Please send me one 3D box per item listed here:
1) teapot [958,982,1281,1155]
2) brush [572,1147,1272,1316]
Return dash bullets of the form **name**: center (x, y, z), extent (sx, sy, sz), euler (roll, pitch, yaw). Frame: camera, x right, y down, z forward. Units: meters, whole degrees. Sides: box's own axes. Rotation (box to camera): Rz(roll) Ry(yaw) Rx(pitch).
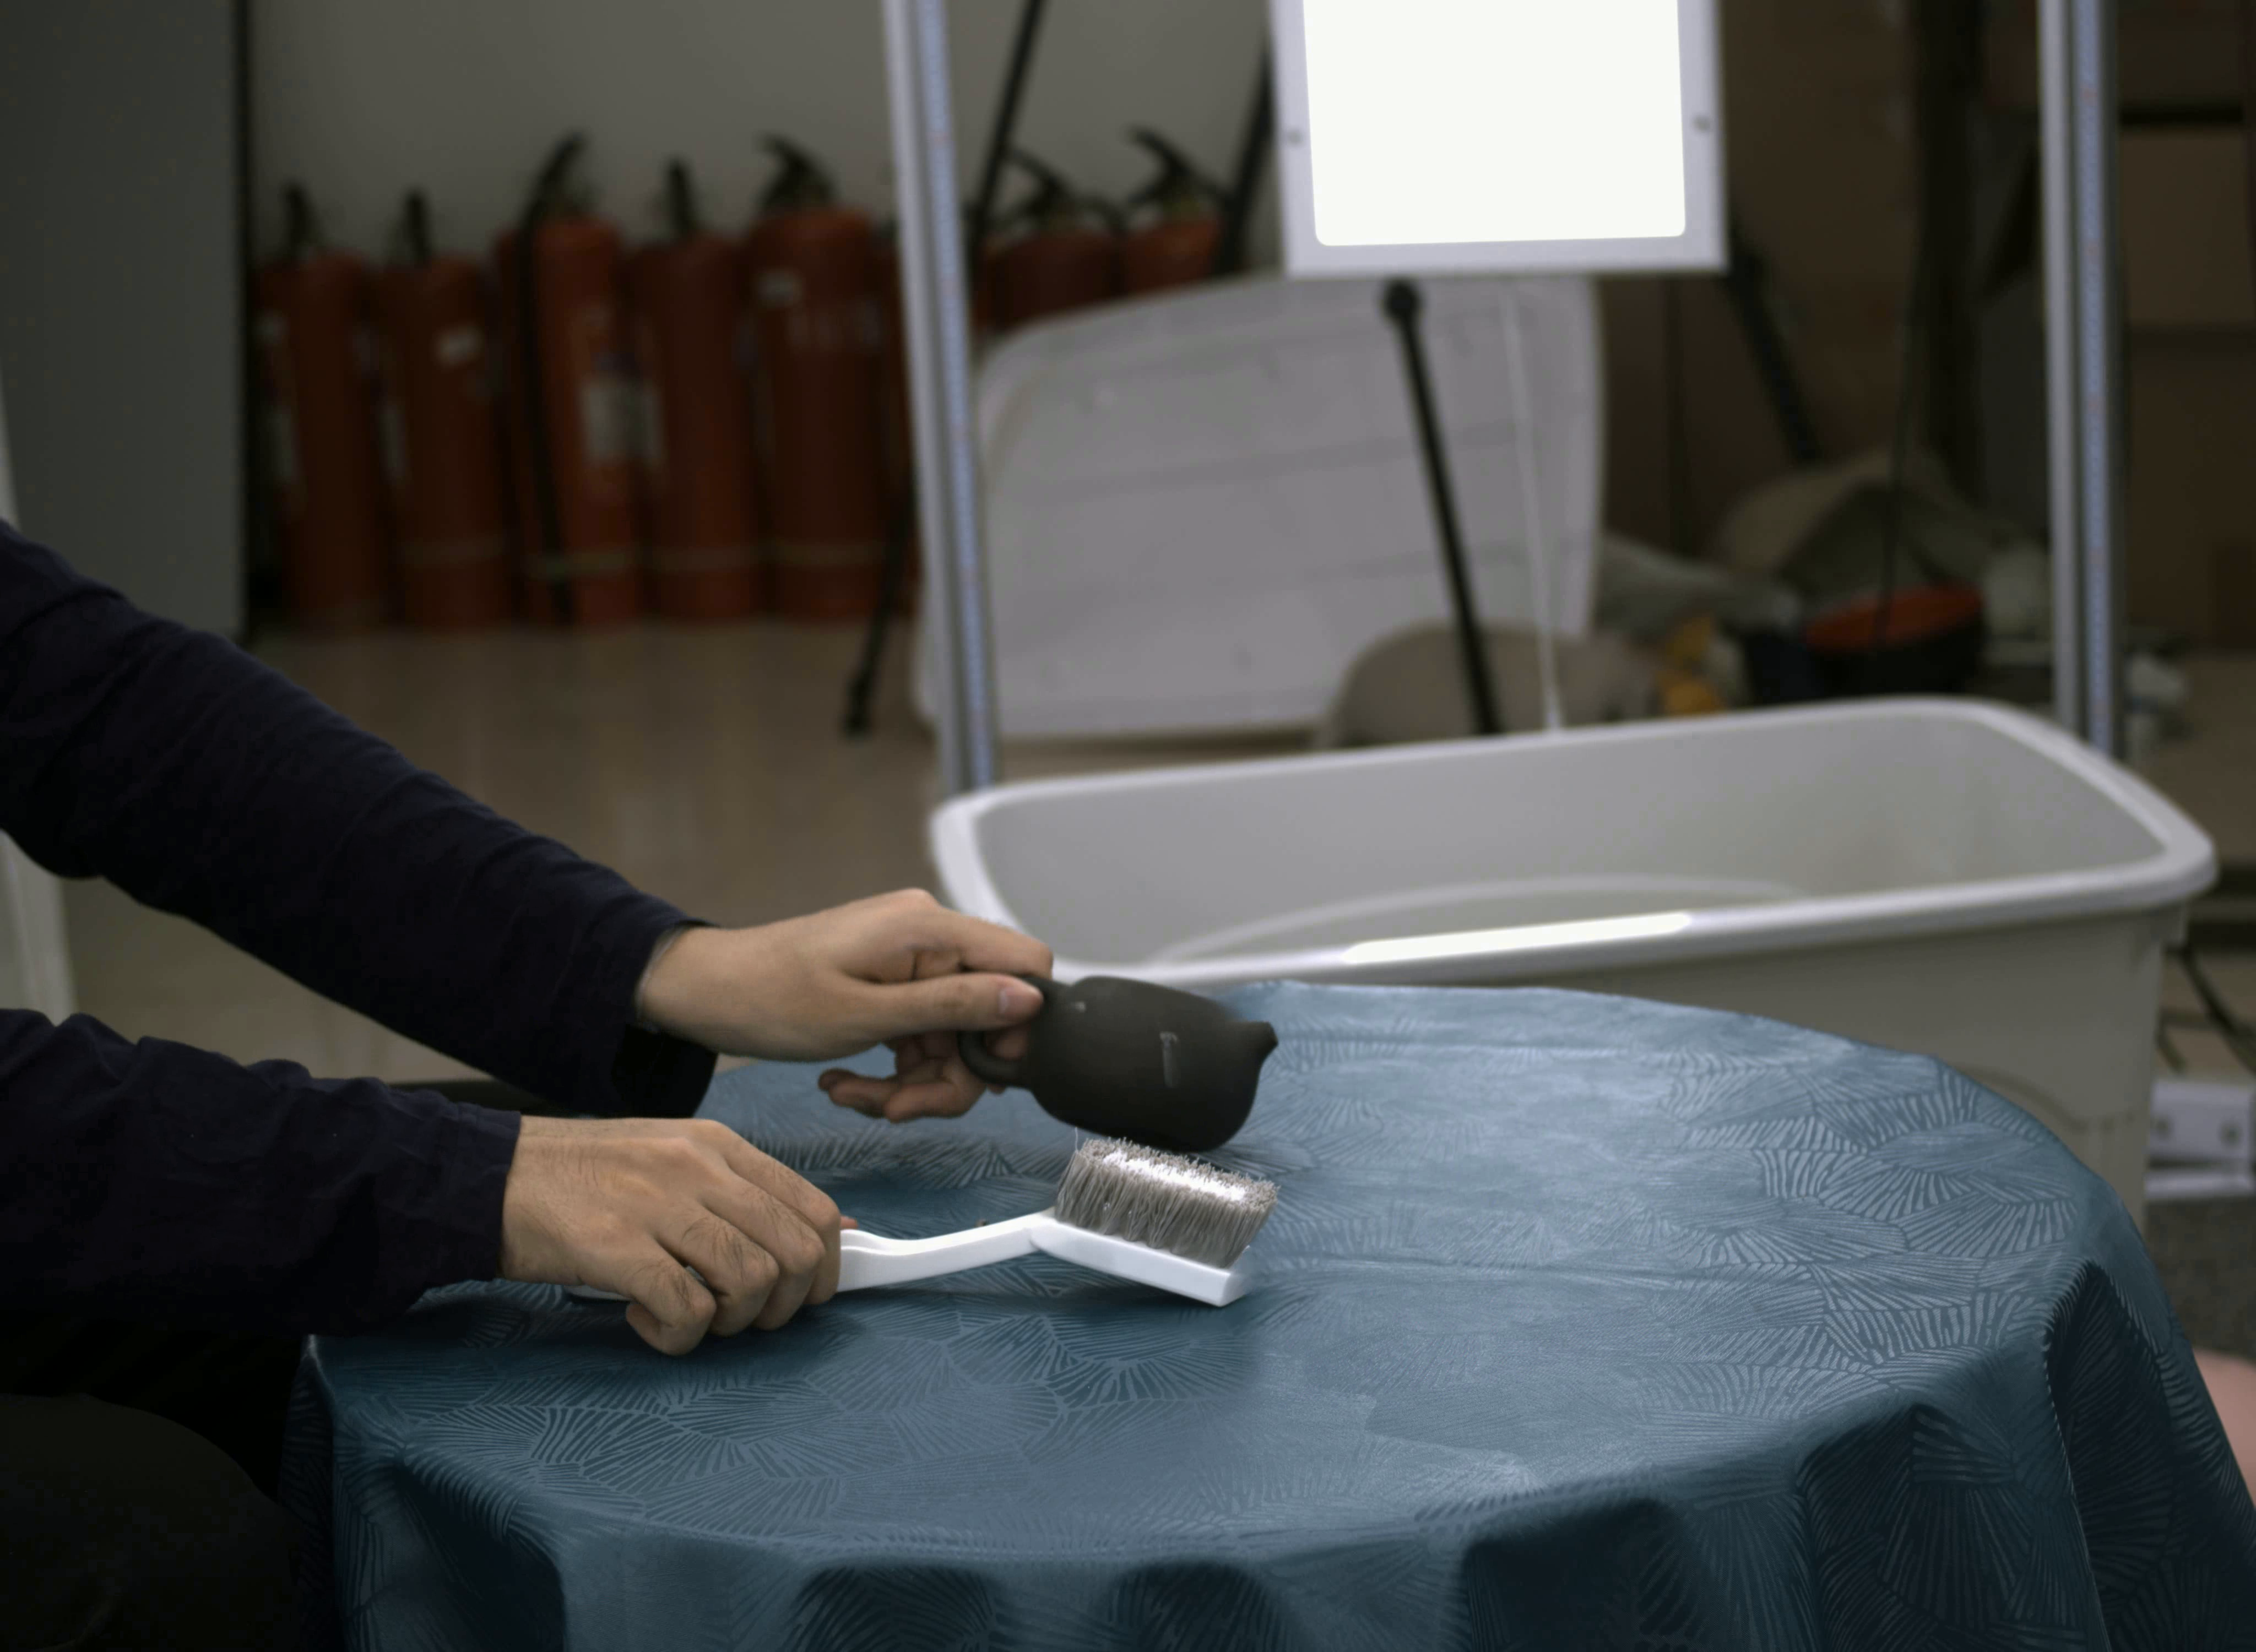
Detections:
- **teapot**: center (-0.005, 0.082, 1.920), extent (0.115, 0.053, 0.082), euler (10, -9, 19)
- **brush**: center (-0.071, 0.130, 1.810), extent (0.247, 0.050, 0.034), euler (0, 20, 20)
